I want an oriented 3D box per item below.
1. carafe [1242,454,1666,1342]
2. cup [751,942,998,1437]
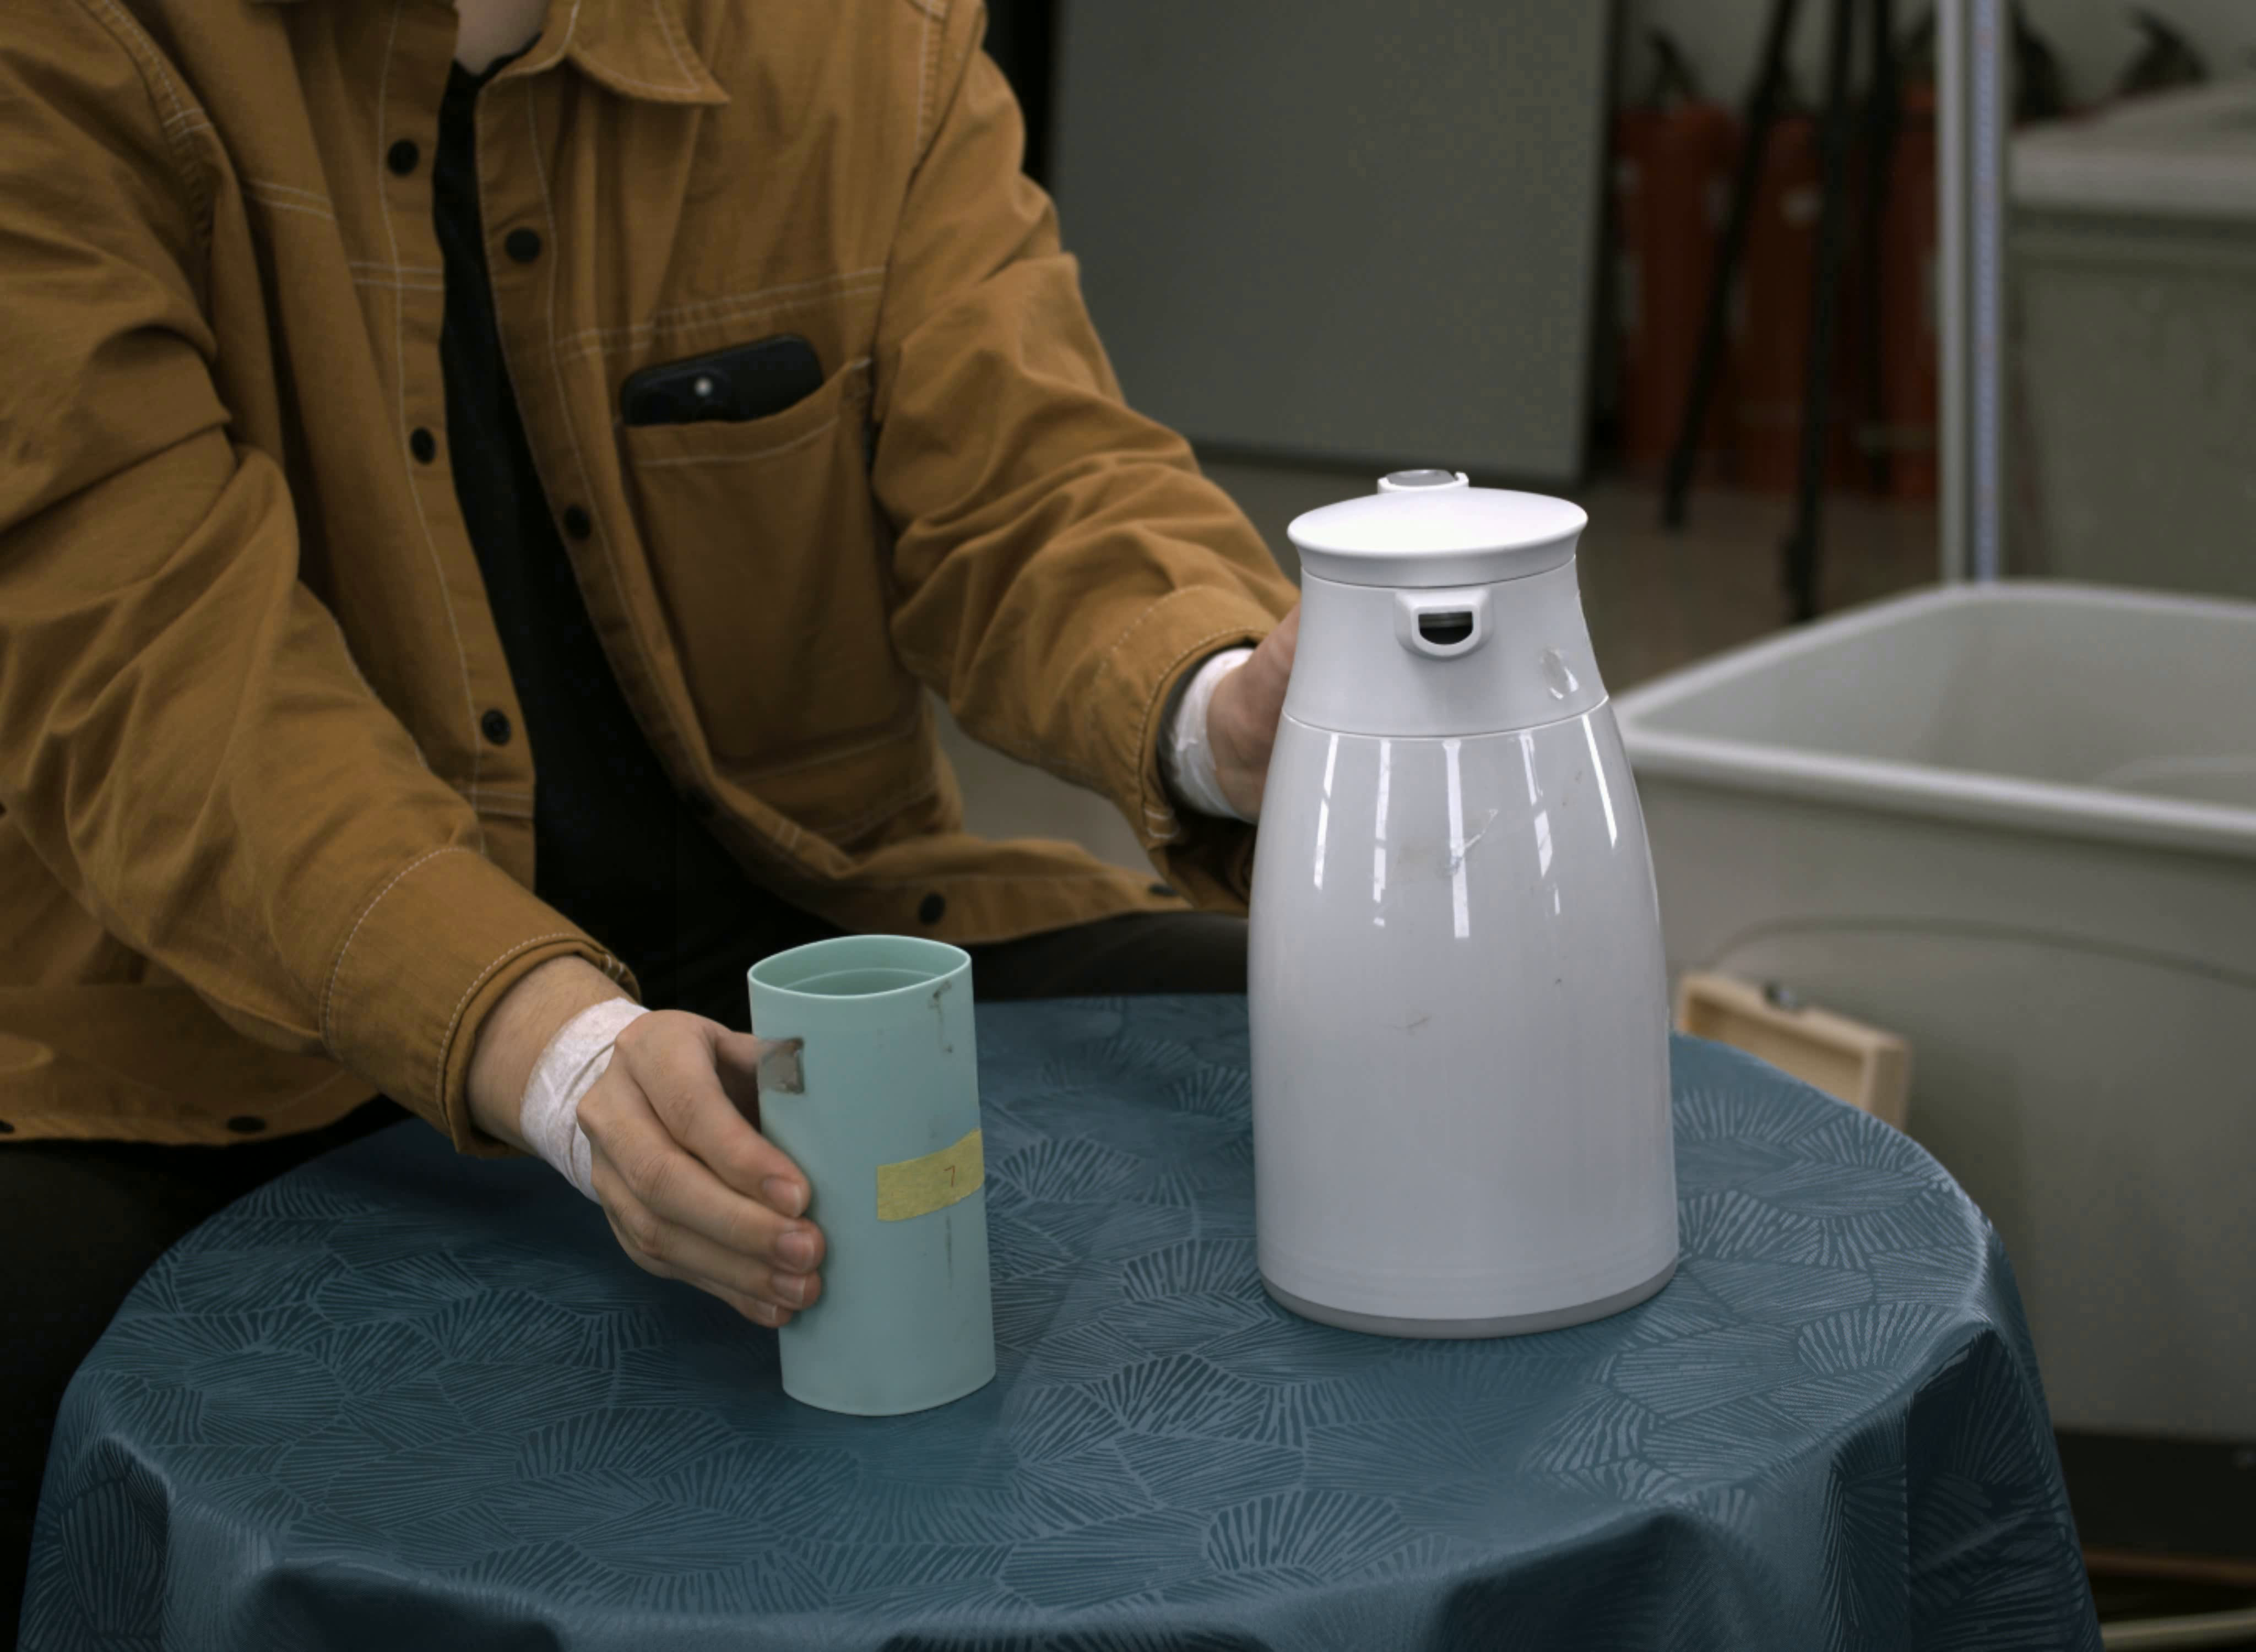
[{"bbox_3d":[0.097,0.014,1.665,0.131,0.251,0.167,-2,13,3],"label":"carafe"},{"bbox_3d":[-0.075,0.106,1.599,0.066,0.134,0.067,-4,13,0],"label":"cup"}]
